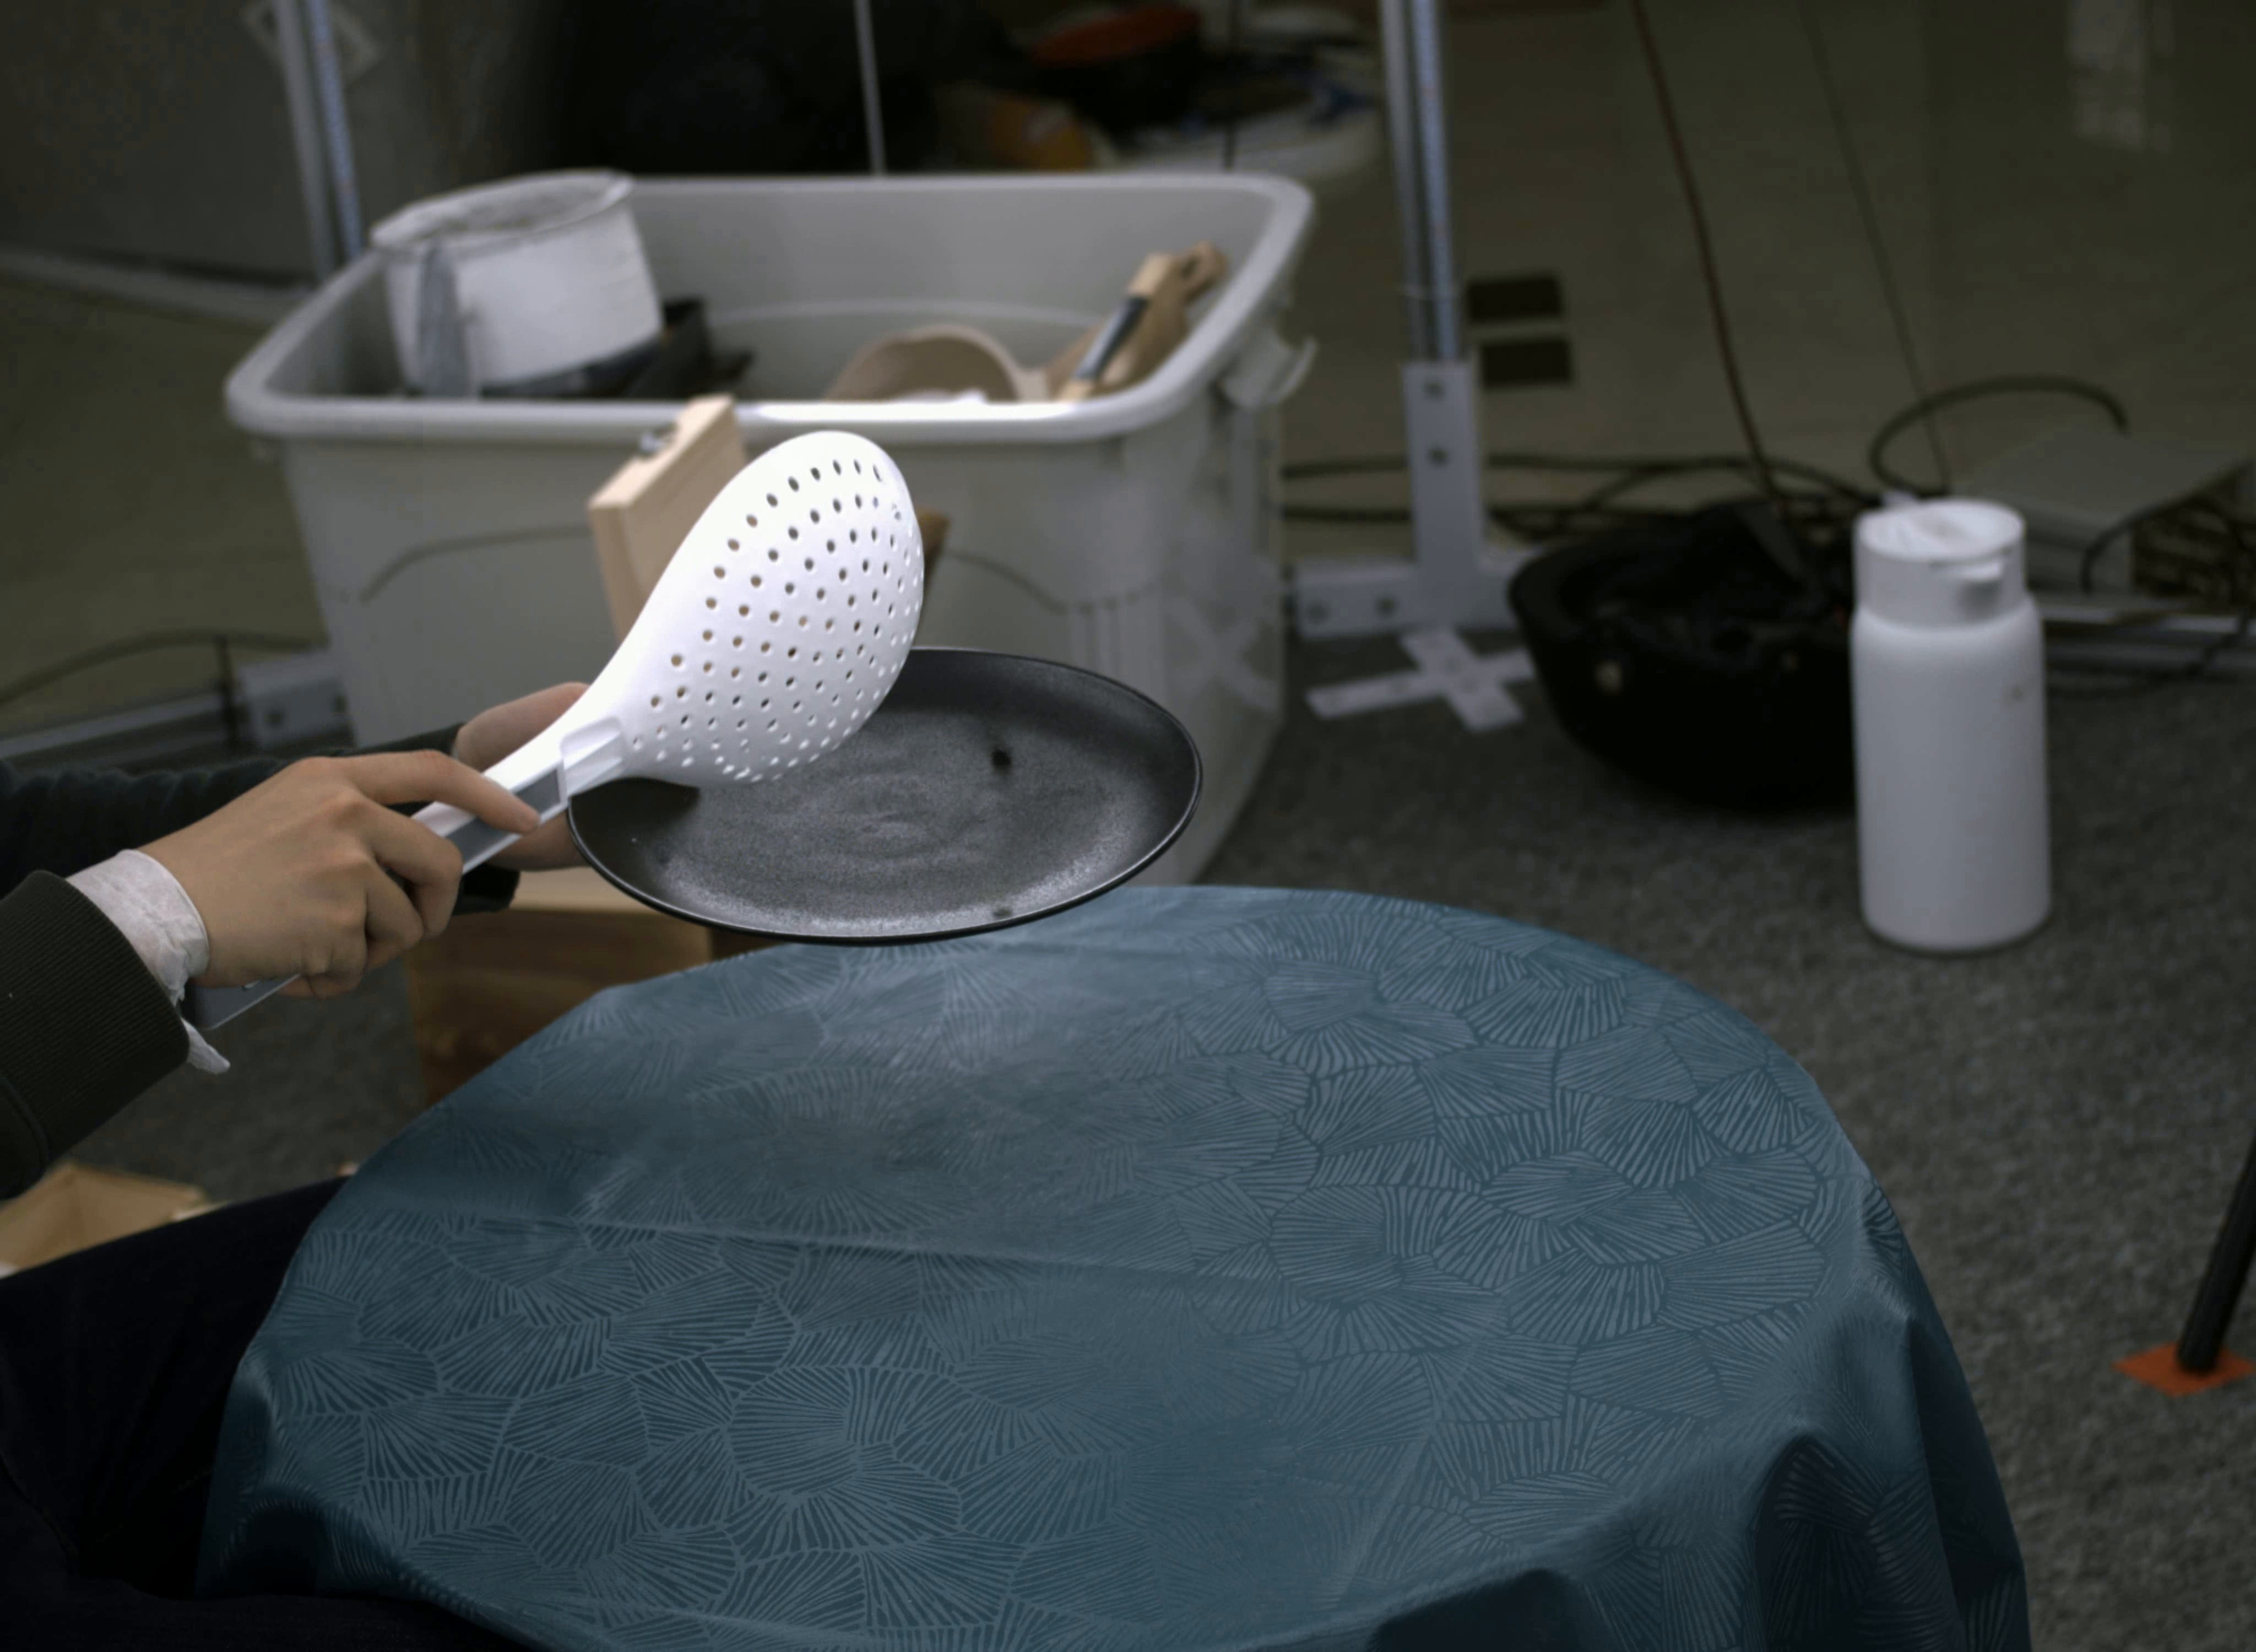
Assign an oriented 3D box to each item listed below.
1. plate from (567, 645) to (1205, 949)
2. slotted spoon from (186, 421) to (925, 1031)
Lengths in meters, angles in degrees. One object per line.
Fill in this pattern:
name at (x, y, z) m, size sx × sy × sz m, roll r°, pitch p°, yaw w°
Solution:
plate at (-0.091, -0.006, 2.158) m, size 0.244 × 0.024 × 0.240 m, roll -2°, pitch 28°, yaw 1°
slotted spoon at (-0.190, -0.027, 1.962) m, size 0.346 × 0.138 × 0.045 m, roll -32°, pitch 44°, yaw -31°
